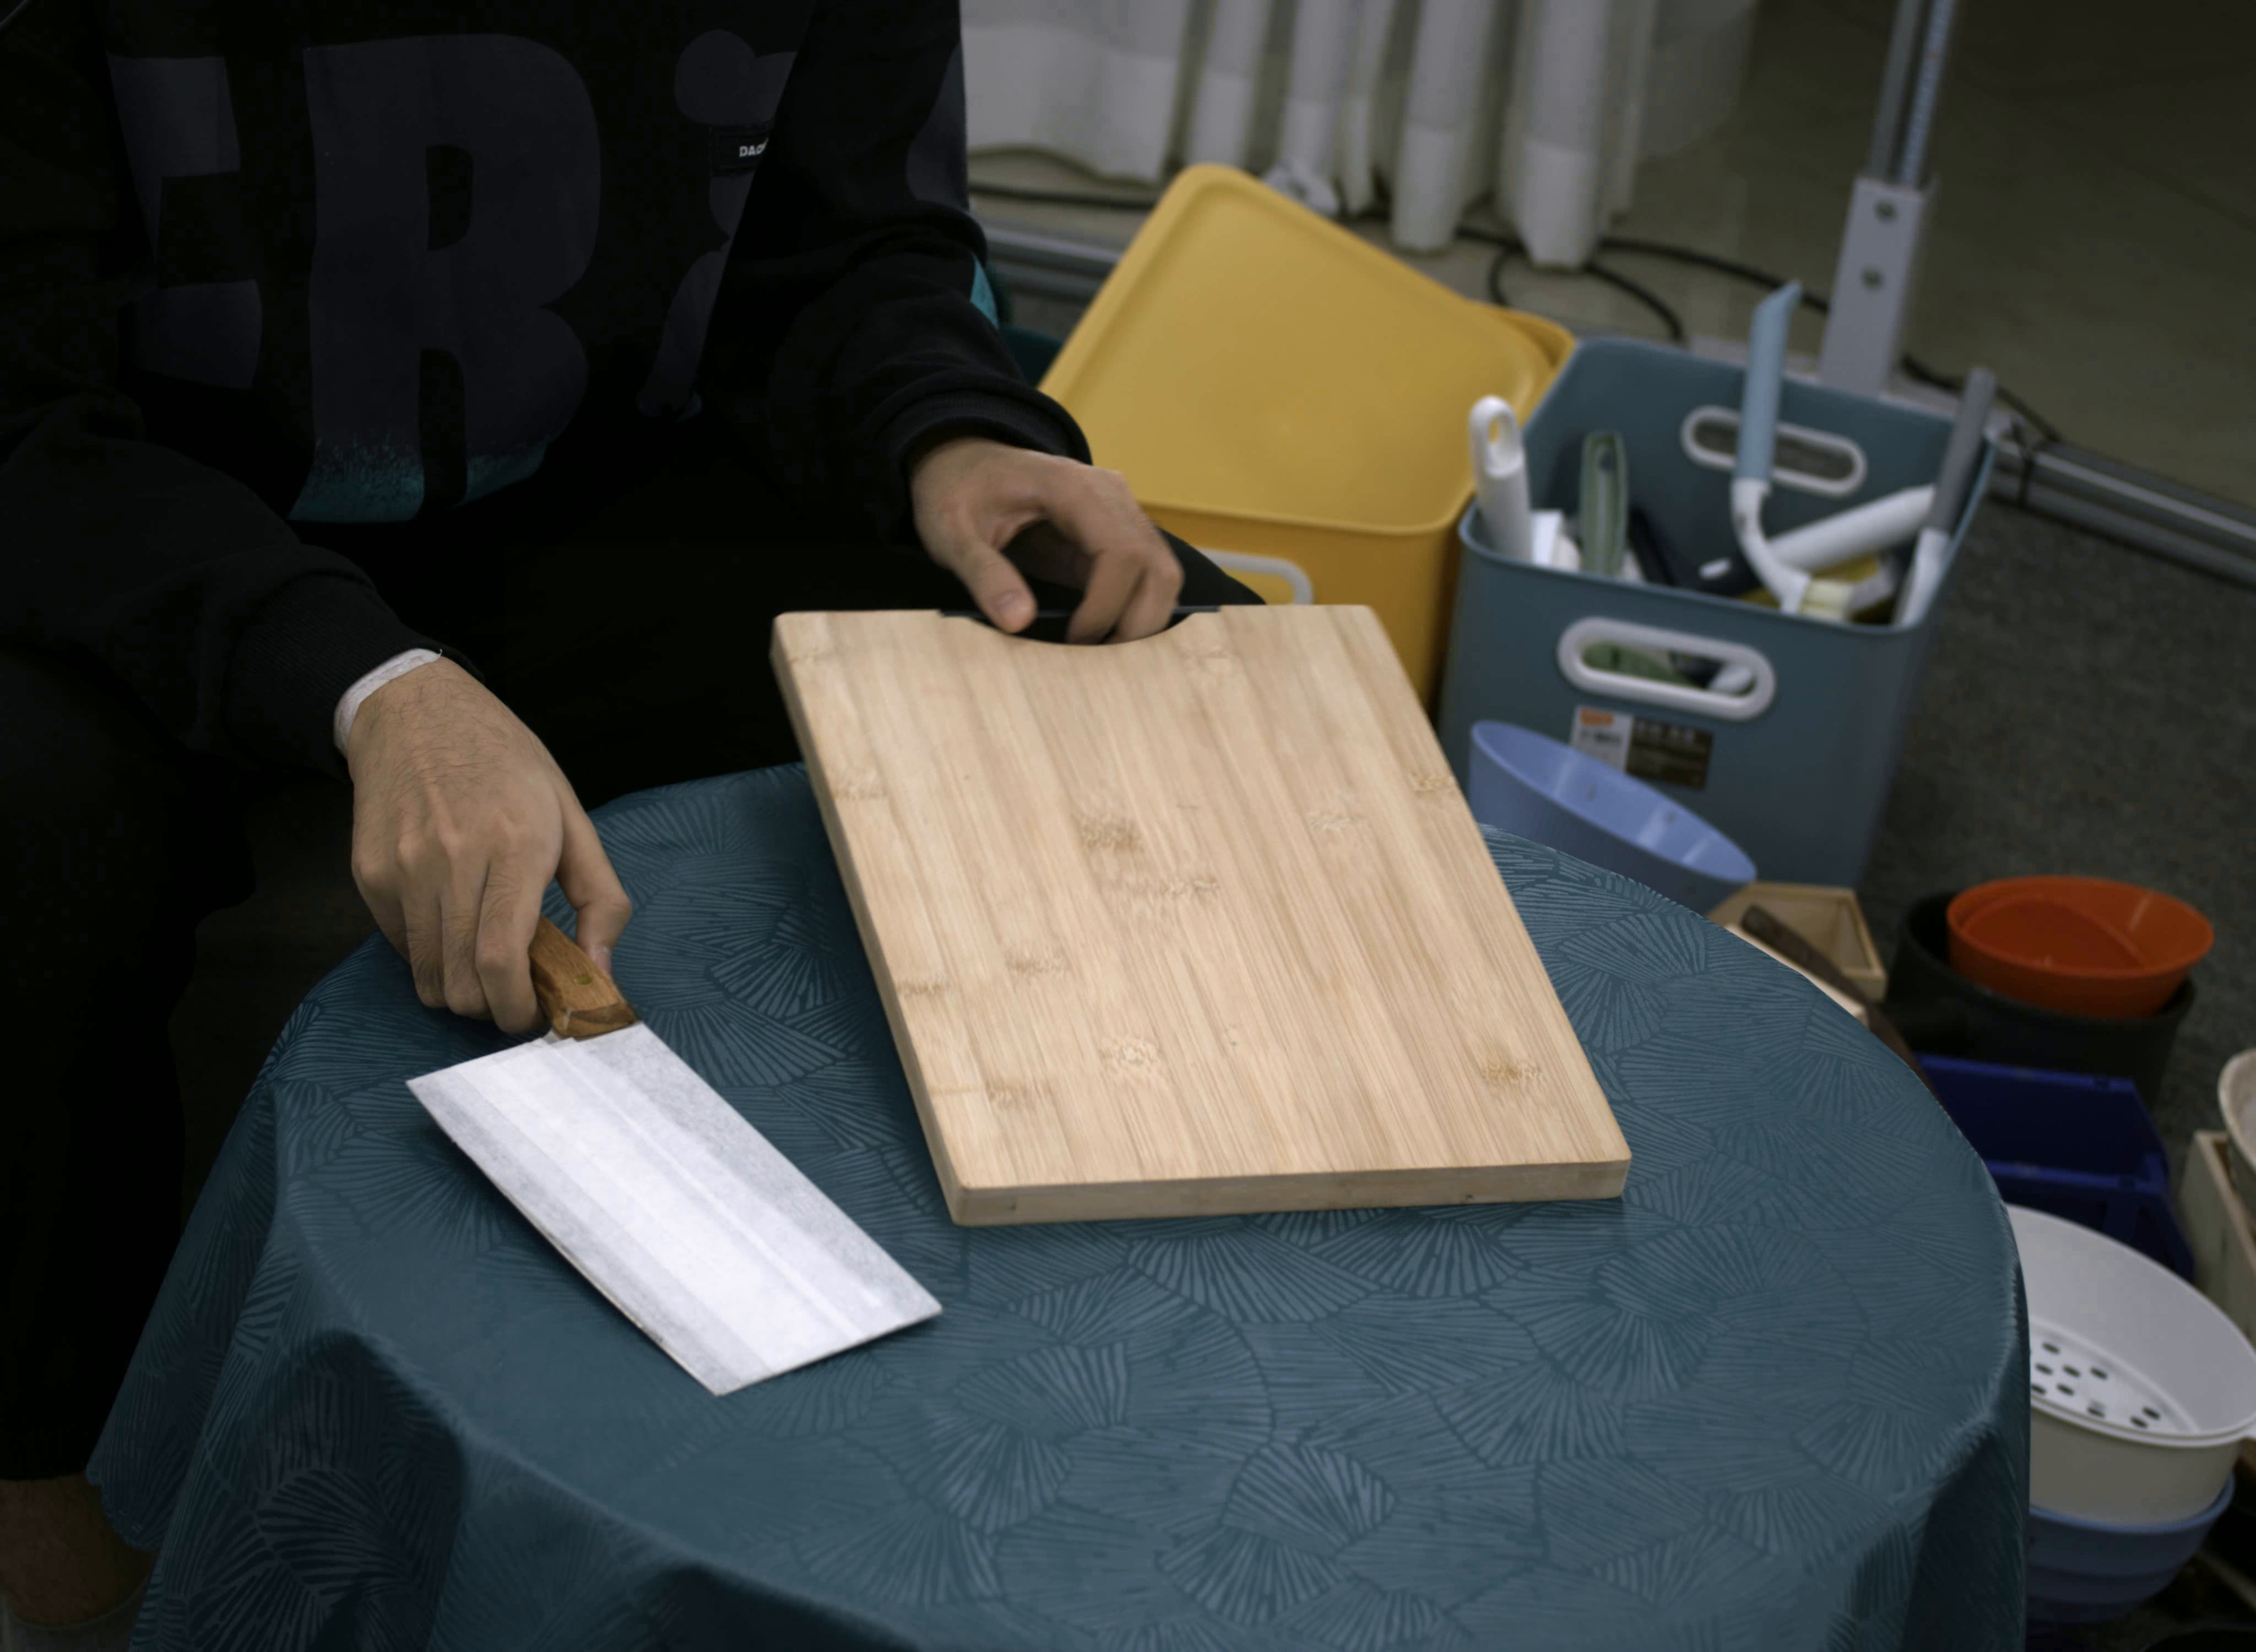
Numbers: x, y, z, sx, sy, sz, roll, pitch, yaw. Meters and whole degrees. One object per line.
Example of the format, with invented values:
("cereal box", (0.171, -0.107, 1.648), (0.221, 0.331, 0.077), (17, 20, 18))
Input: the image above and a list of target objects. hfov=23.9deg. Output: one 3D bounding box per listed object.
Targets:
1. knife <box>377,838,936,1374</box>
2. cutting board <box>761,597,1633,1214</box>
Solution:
("knife", (-0.184, 0.093, 1.788), (0.092, 0.021, 0.308), (-19, 41, -32))
("cutting board", (0.016, 0.022, 1.932), (0.249, 0.023, 0.352), (-2, 36, -17))
